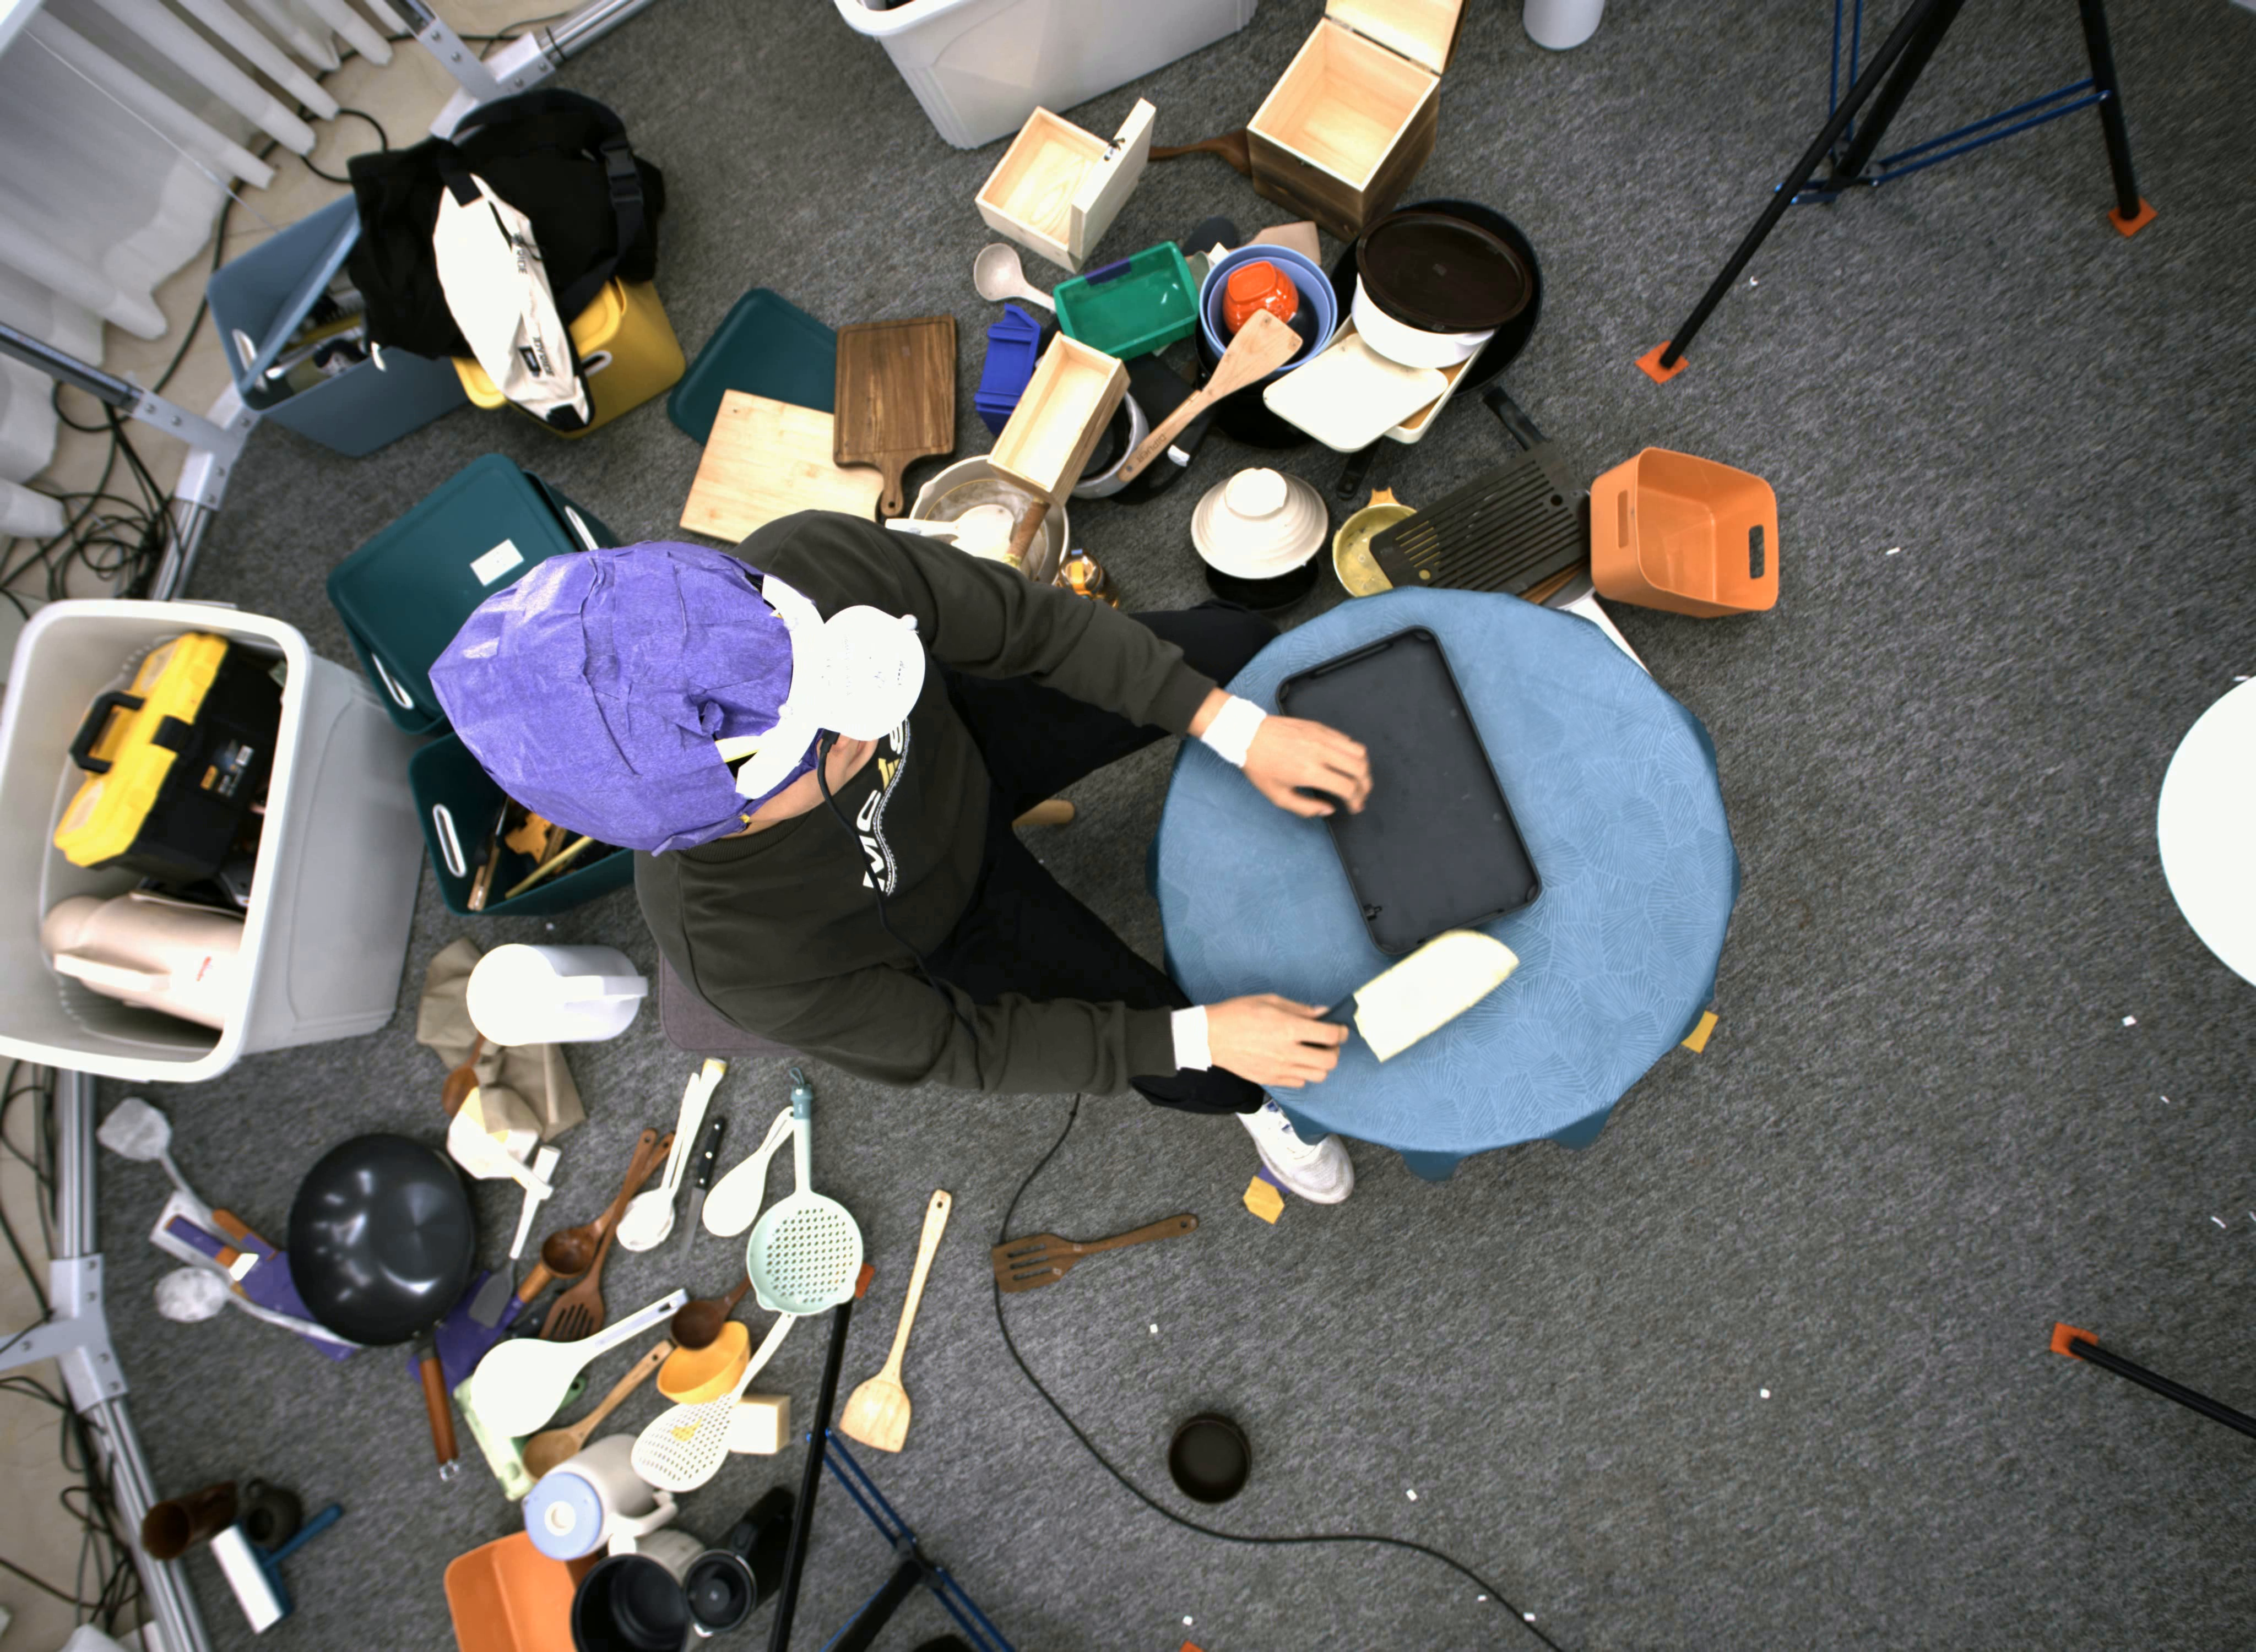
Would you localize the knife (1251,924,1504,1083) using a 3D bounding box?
[{"bbox_3d":[0.254,0.187,1.400,0.292,0.027,0.081,-33,88,10],"label":"knife"}]

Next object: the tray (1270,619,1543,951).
[{"bbox_3d":[0.290,-0.044,1.445,0.185,0.037,0.316,-24,83,9],"label":"tray"}]
